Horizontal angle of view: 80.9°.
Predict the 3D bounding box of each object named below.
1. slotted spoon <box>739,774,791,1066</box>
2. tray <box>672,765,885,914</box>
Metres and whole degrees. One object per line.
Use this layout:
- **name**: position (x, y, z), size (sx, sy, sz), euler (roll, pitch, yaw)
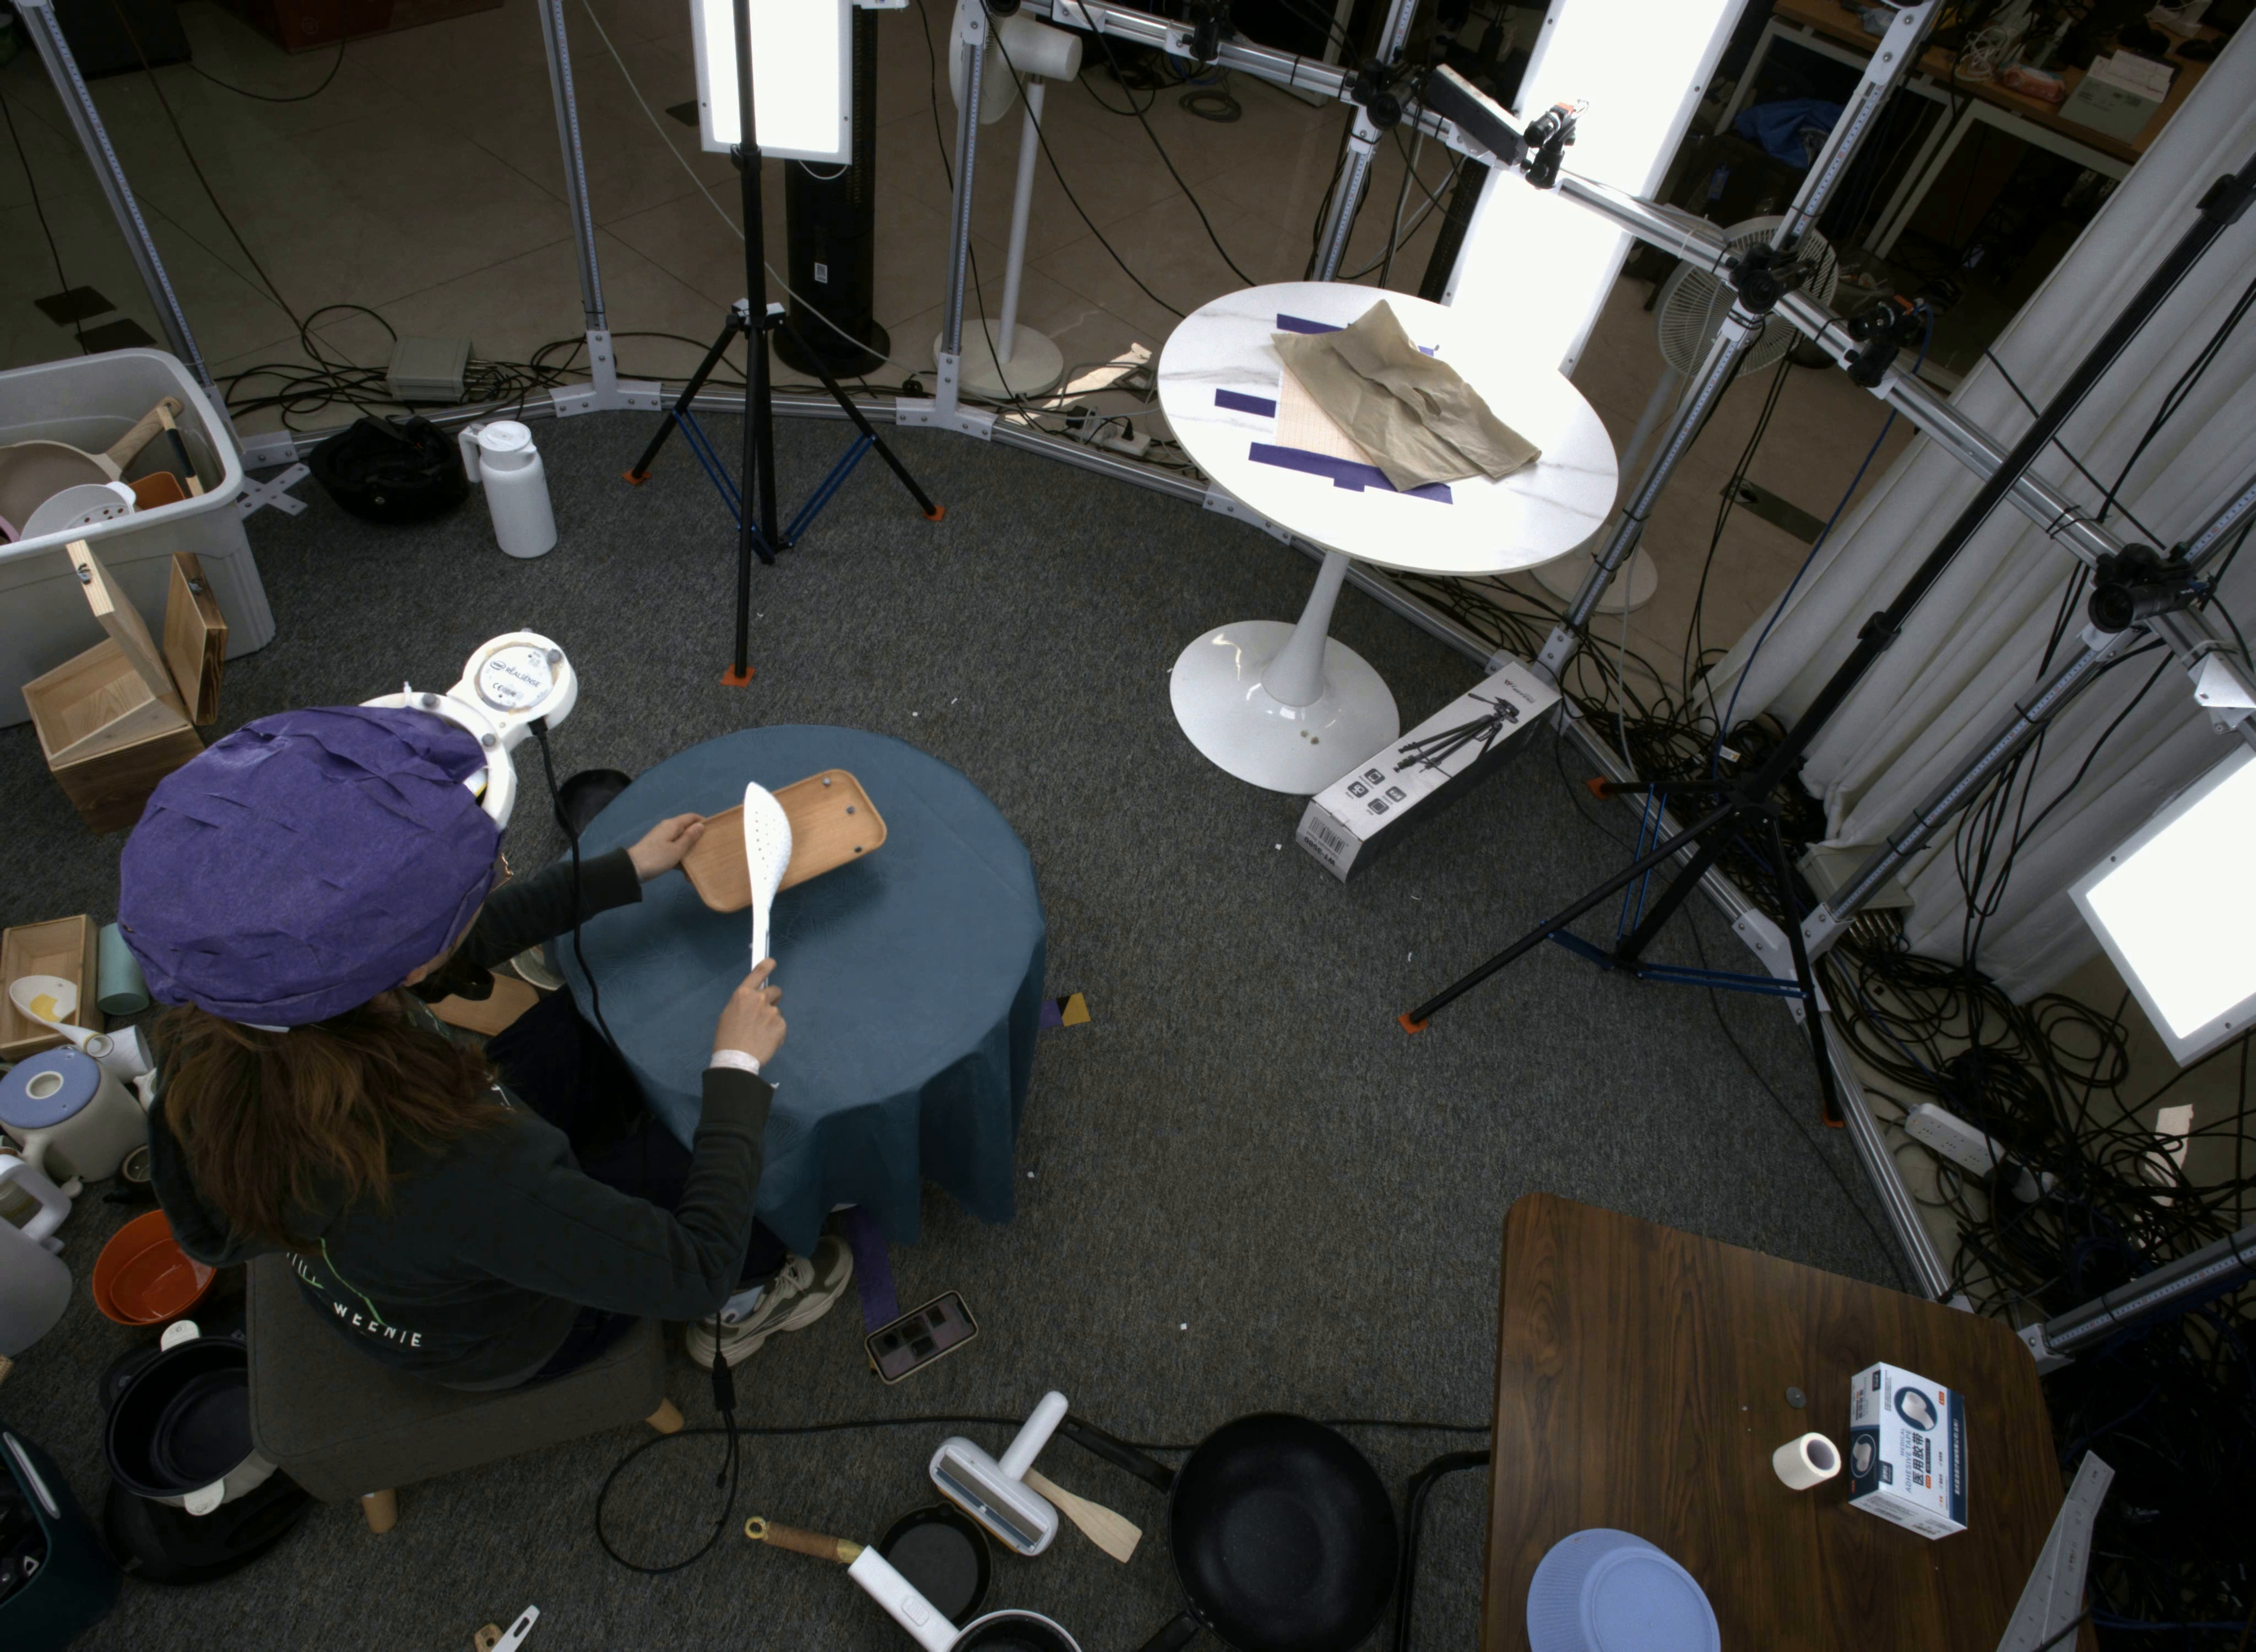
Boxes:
- **slotted spoon**: position (-0.420, 0.100, 1.478), size (0.045, 0.139, 0.345), euler (-2, 63, -1)
- **tray**: position (-0.432, 0.013, 1.609), size (0.252, 0.023, 0.129), euler (-26, 73, -31)
